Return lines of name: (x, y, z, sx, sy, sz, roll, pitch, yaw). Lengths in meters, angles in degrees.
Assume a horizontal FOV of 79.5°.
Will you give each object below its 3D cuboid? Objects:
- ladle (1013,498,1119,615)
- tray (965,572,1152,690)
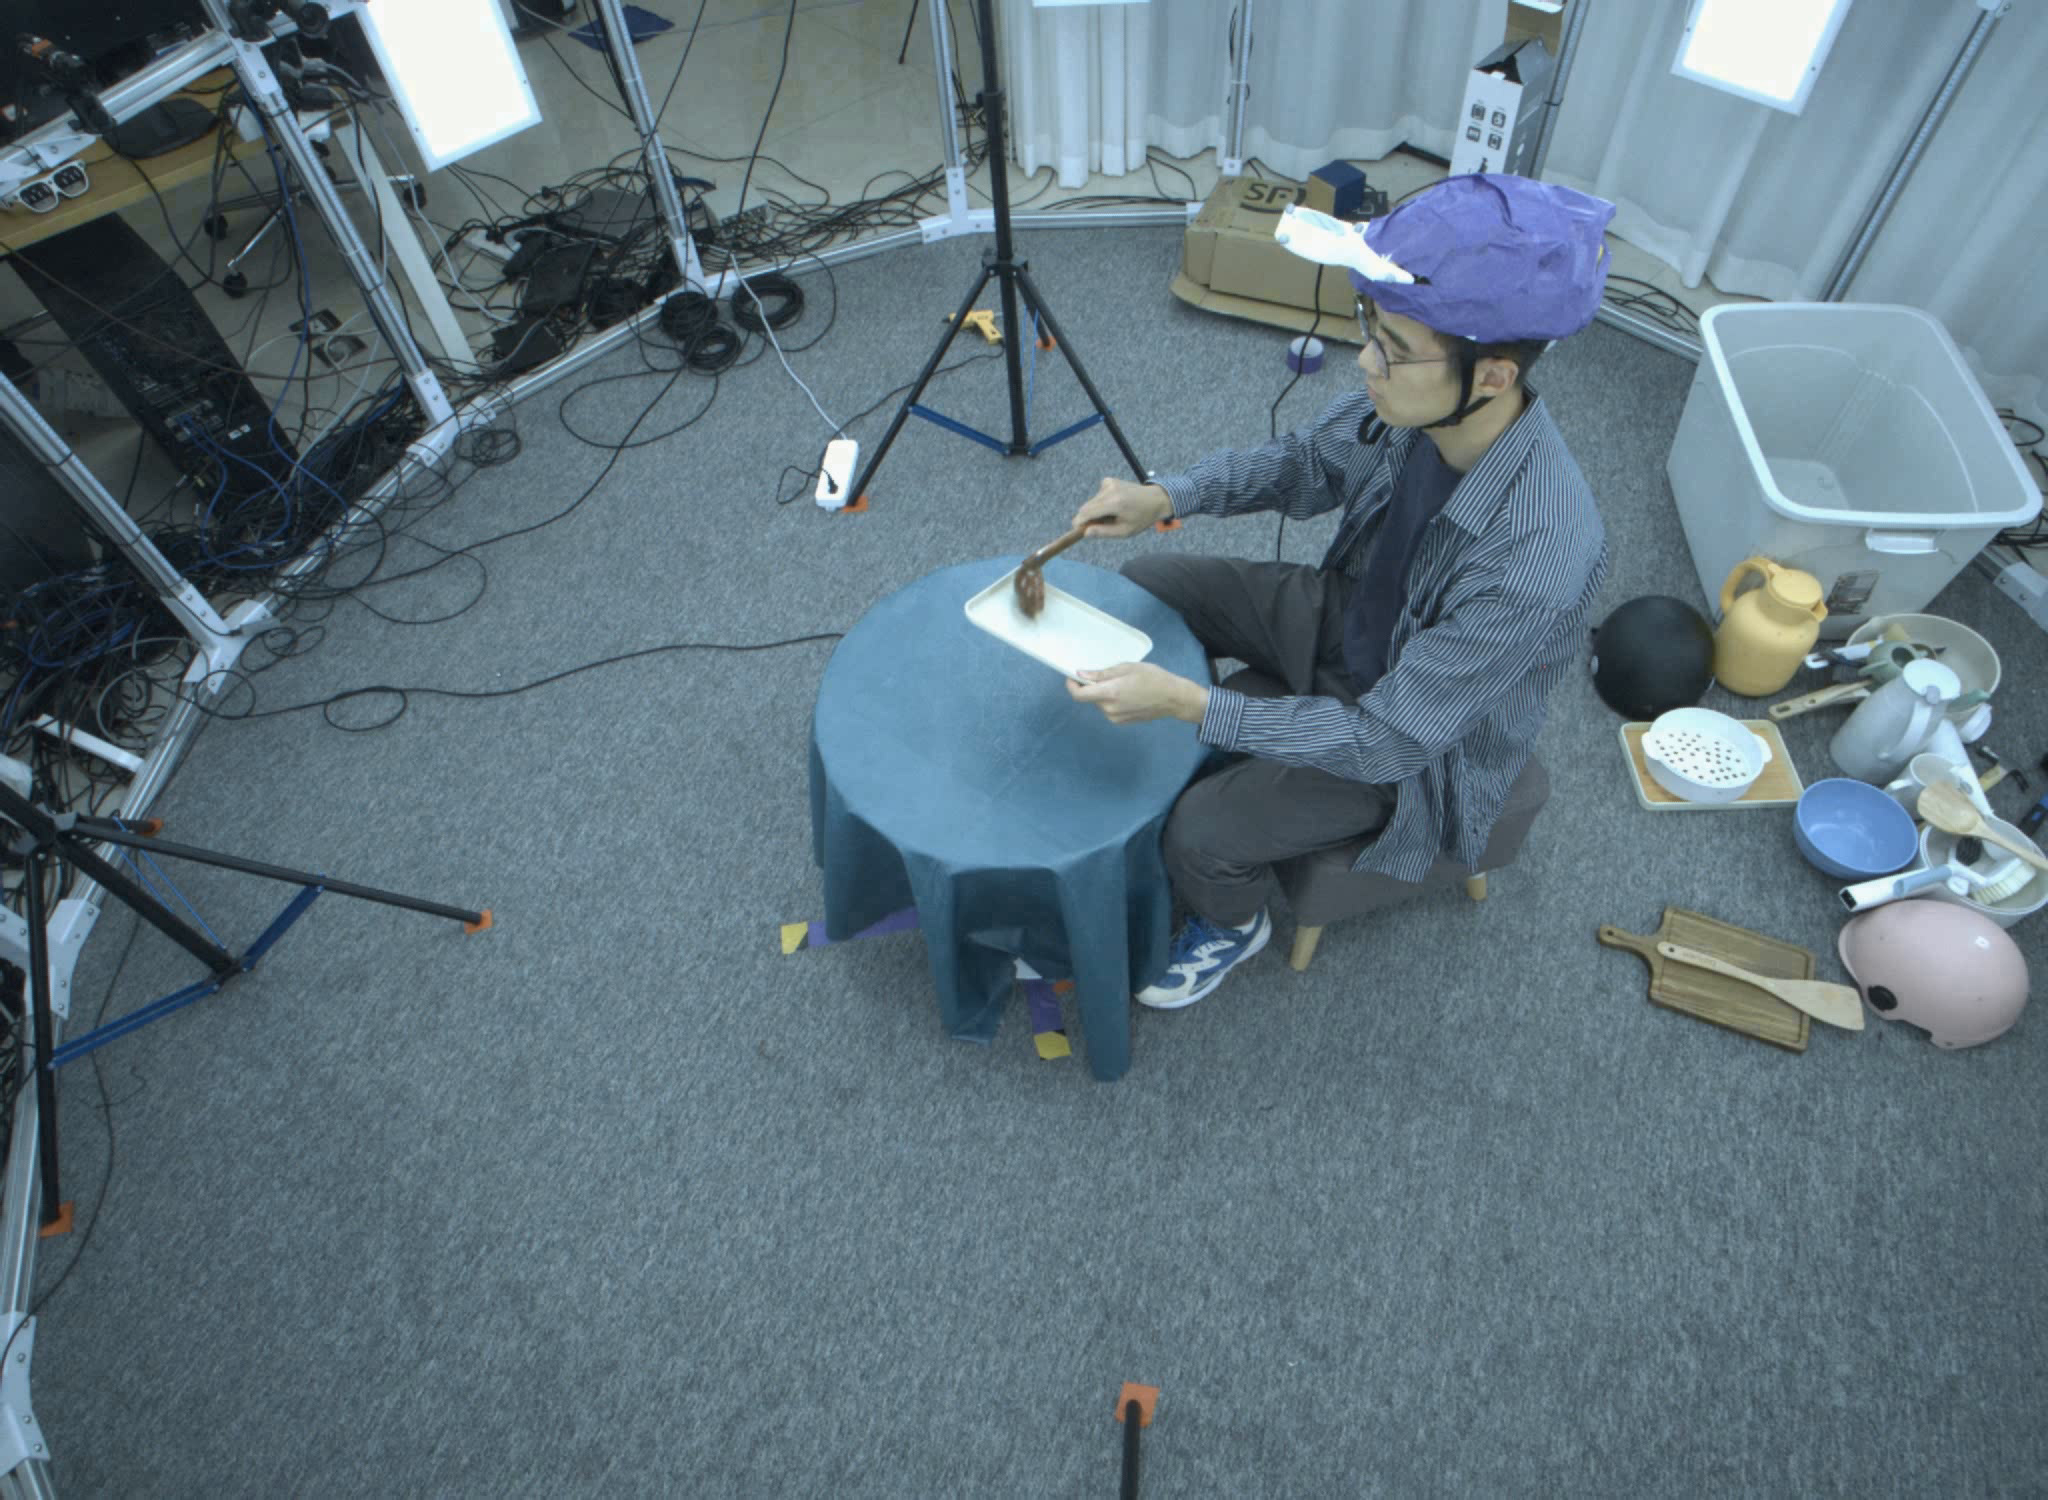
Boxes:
ladle: (0.075, -0.284, 1.754, 0.076, 0.082, 0.276, 41, 53, 13)
tray: (0.048, -0.165, 1.695, 0.237, 0.017, 0.172, 30, 39, 12)
